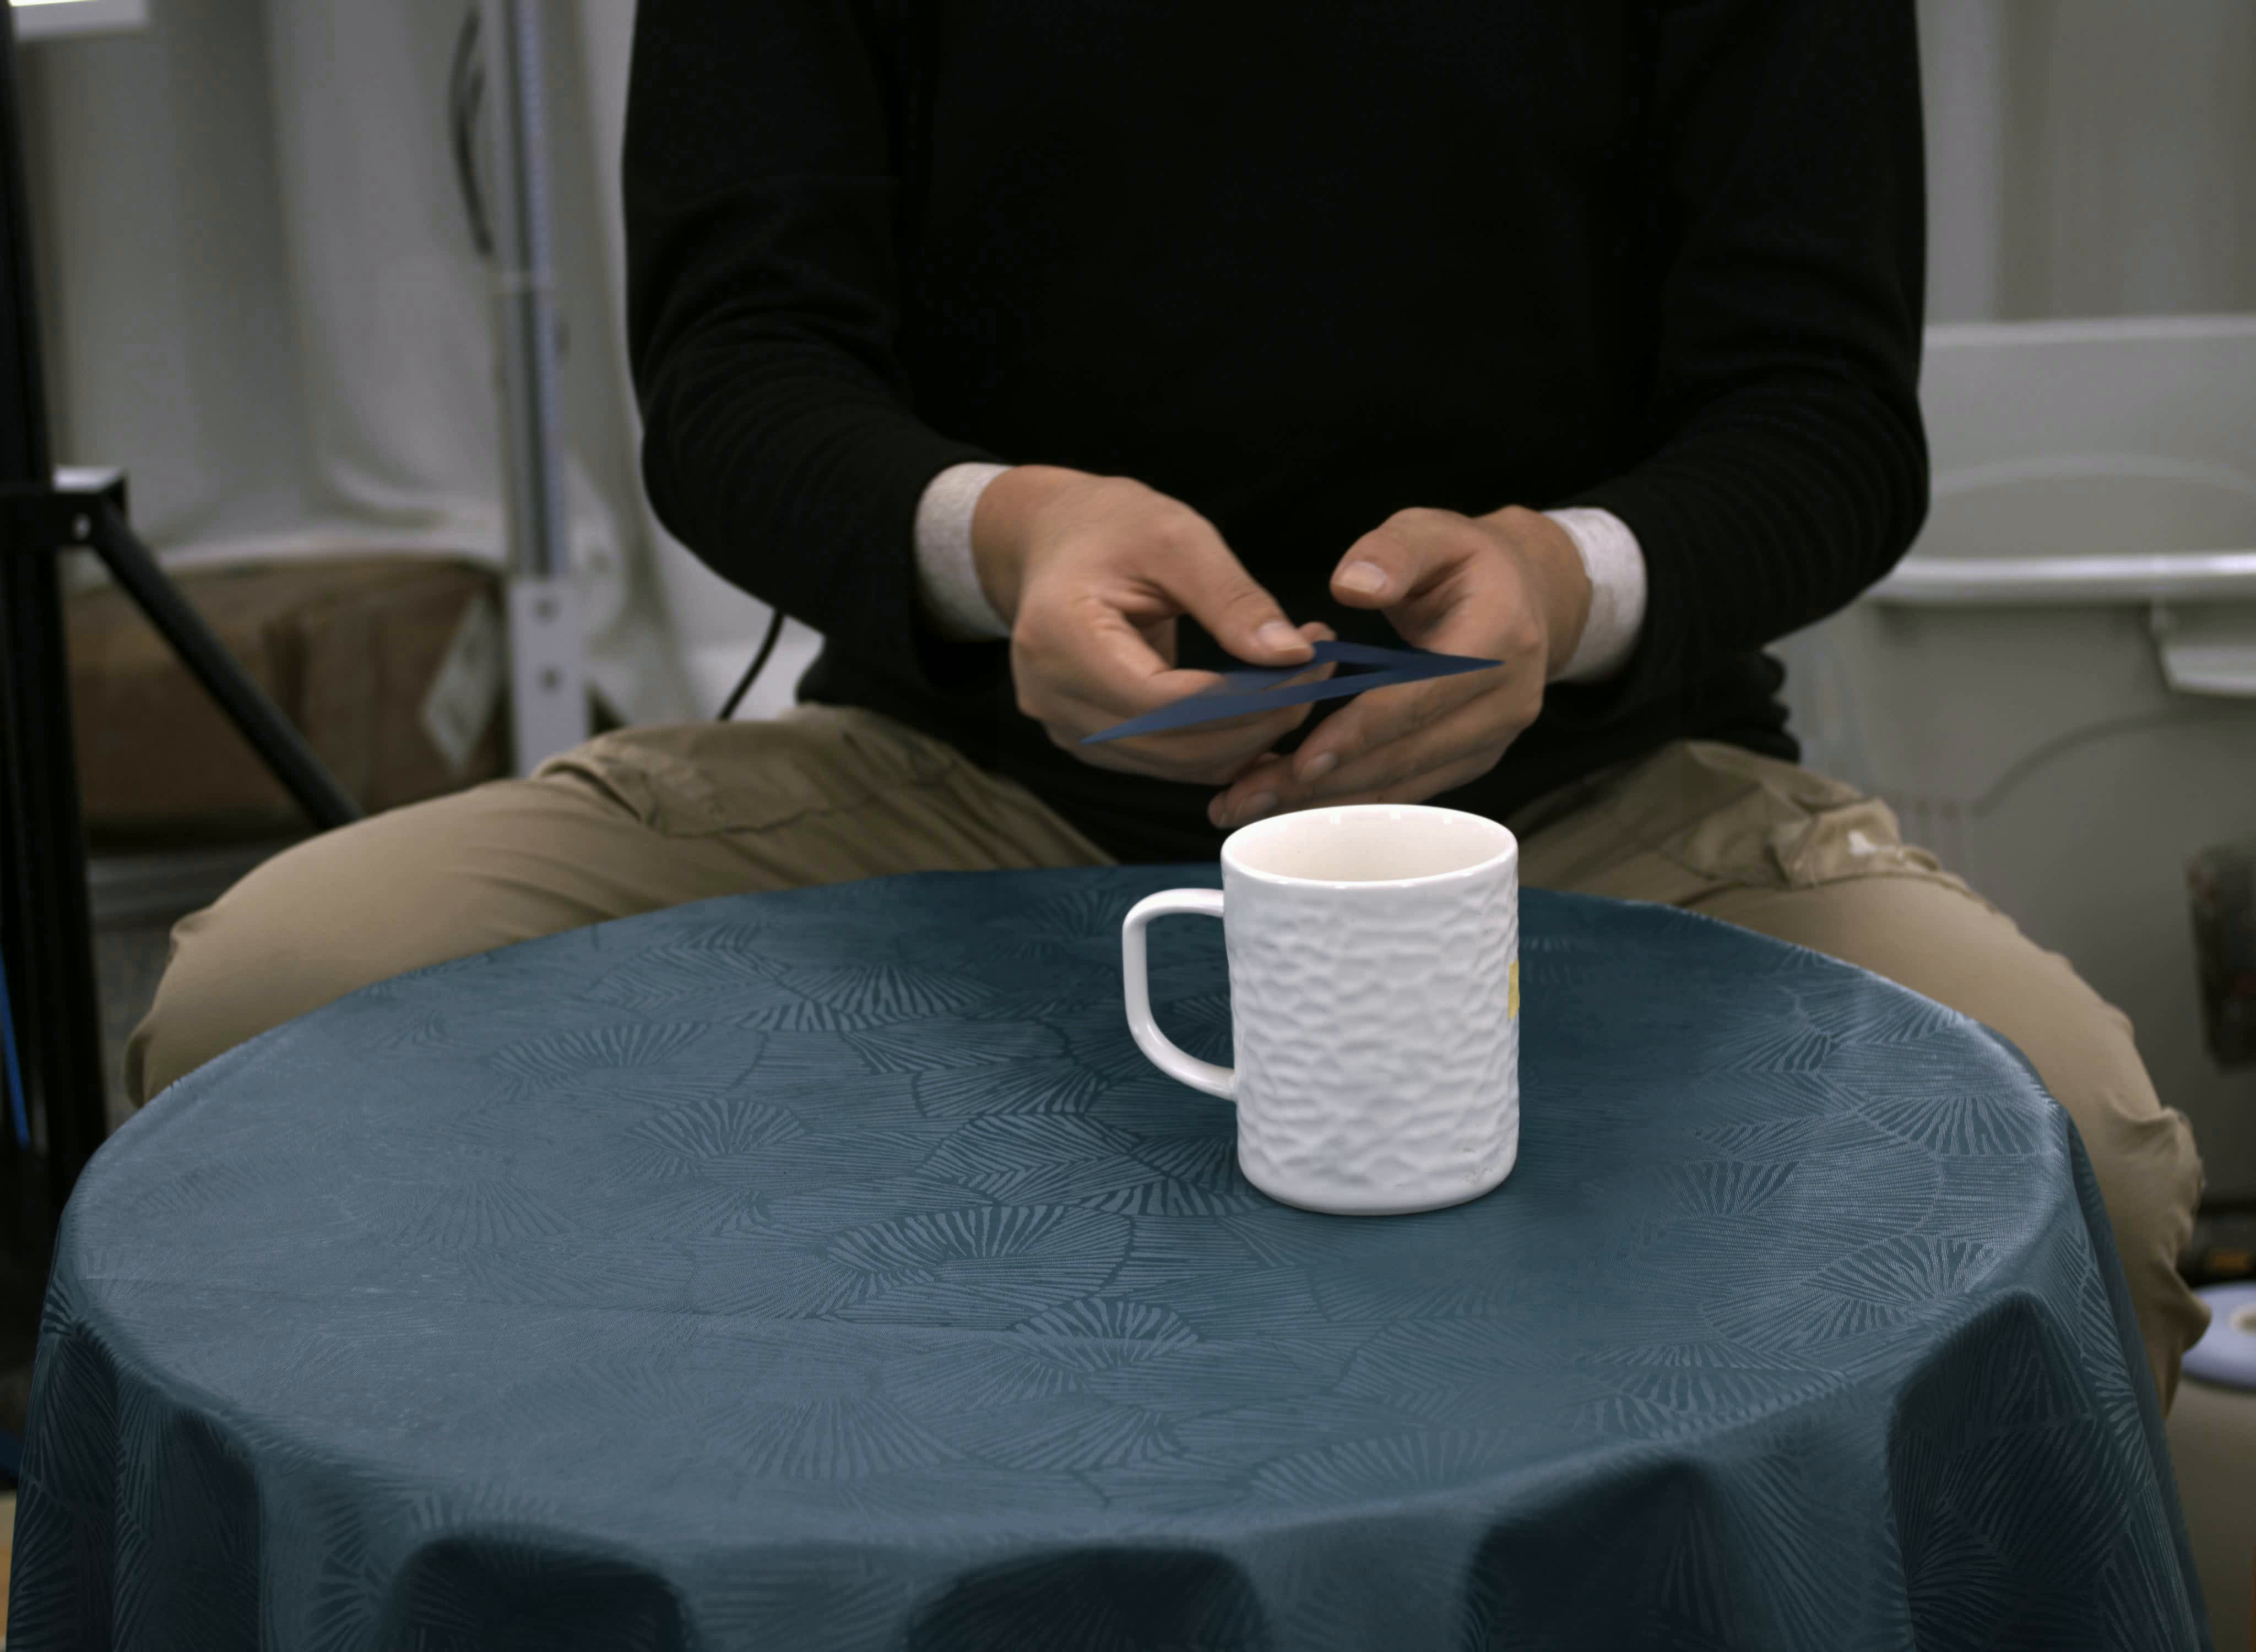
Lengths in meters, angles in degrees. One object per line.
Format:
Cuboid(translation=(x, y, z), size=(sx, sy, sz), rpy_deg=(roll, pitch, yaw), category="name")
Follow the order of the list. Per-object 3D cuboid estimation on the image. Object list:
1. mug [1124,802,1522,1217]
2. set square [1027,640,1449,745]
Cuboid(translation=(0.057, 0.053, 1.554), size=(0.119, 0.102, 0.084), rpy_deg=(2, 16, 16), category="mug")
Cuboid(translation=(0.027, -0.044, 1.618), size=(0.130, 0.006, 0.062), rpy_deg=(-11, 19, -13), category="set square")
